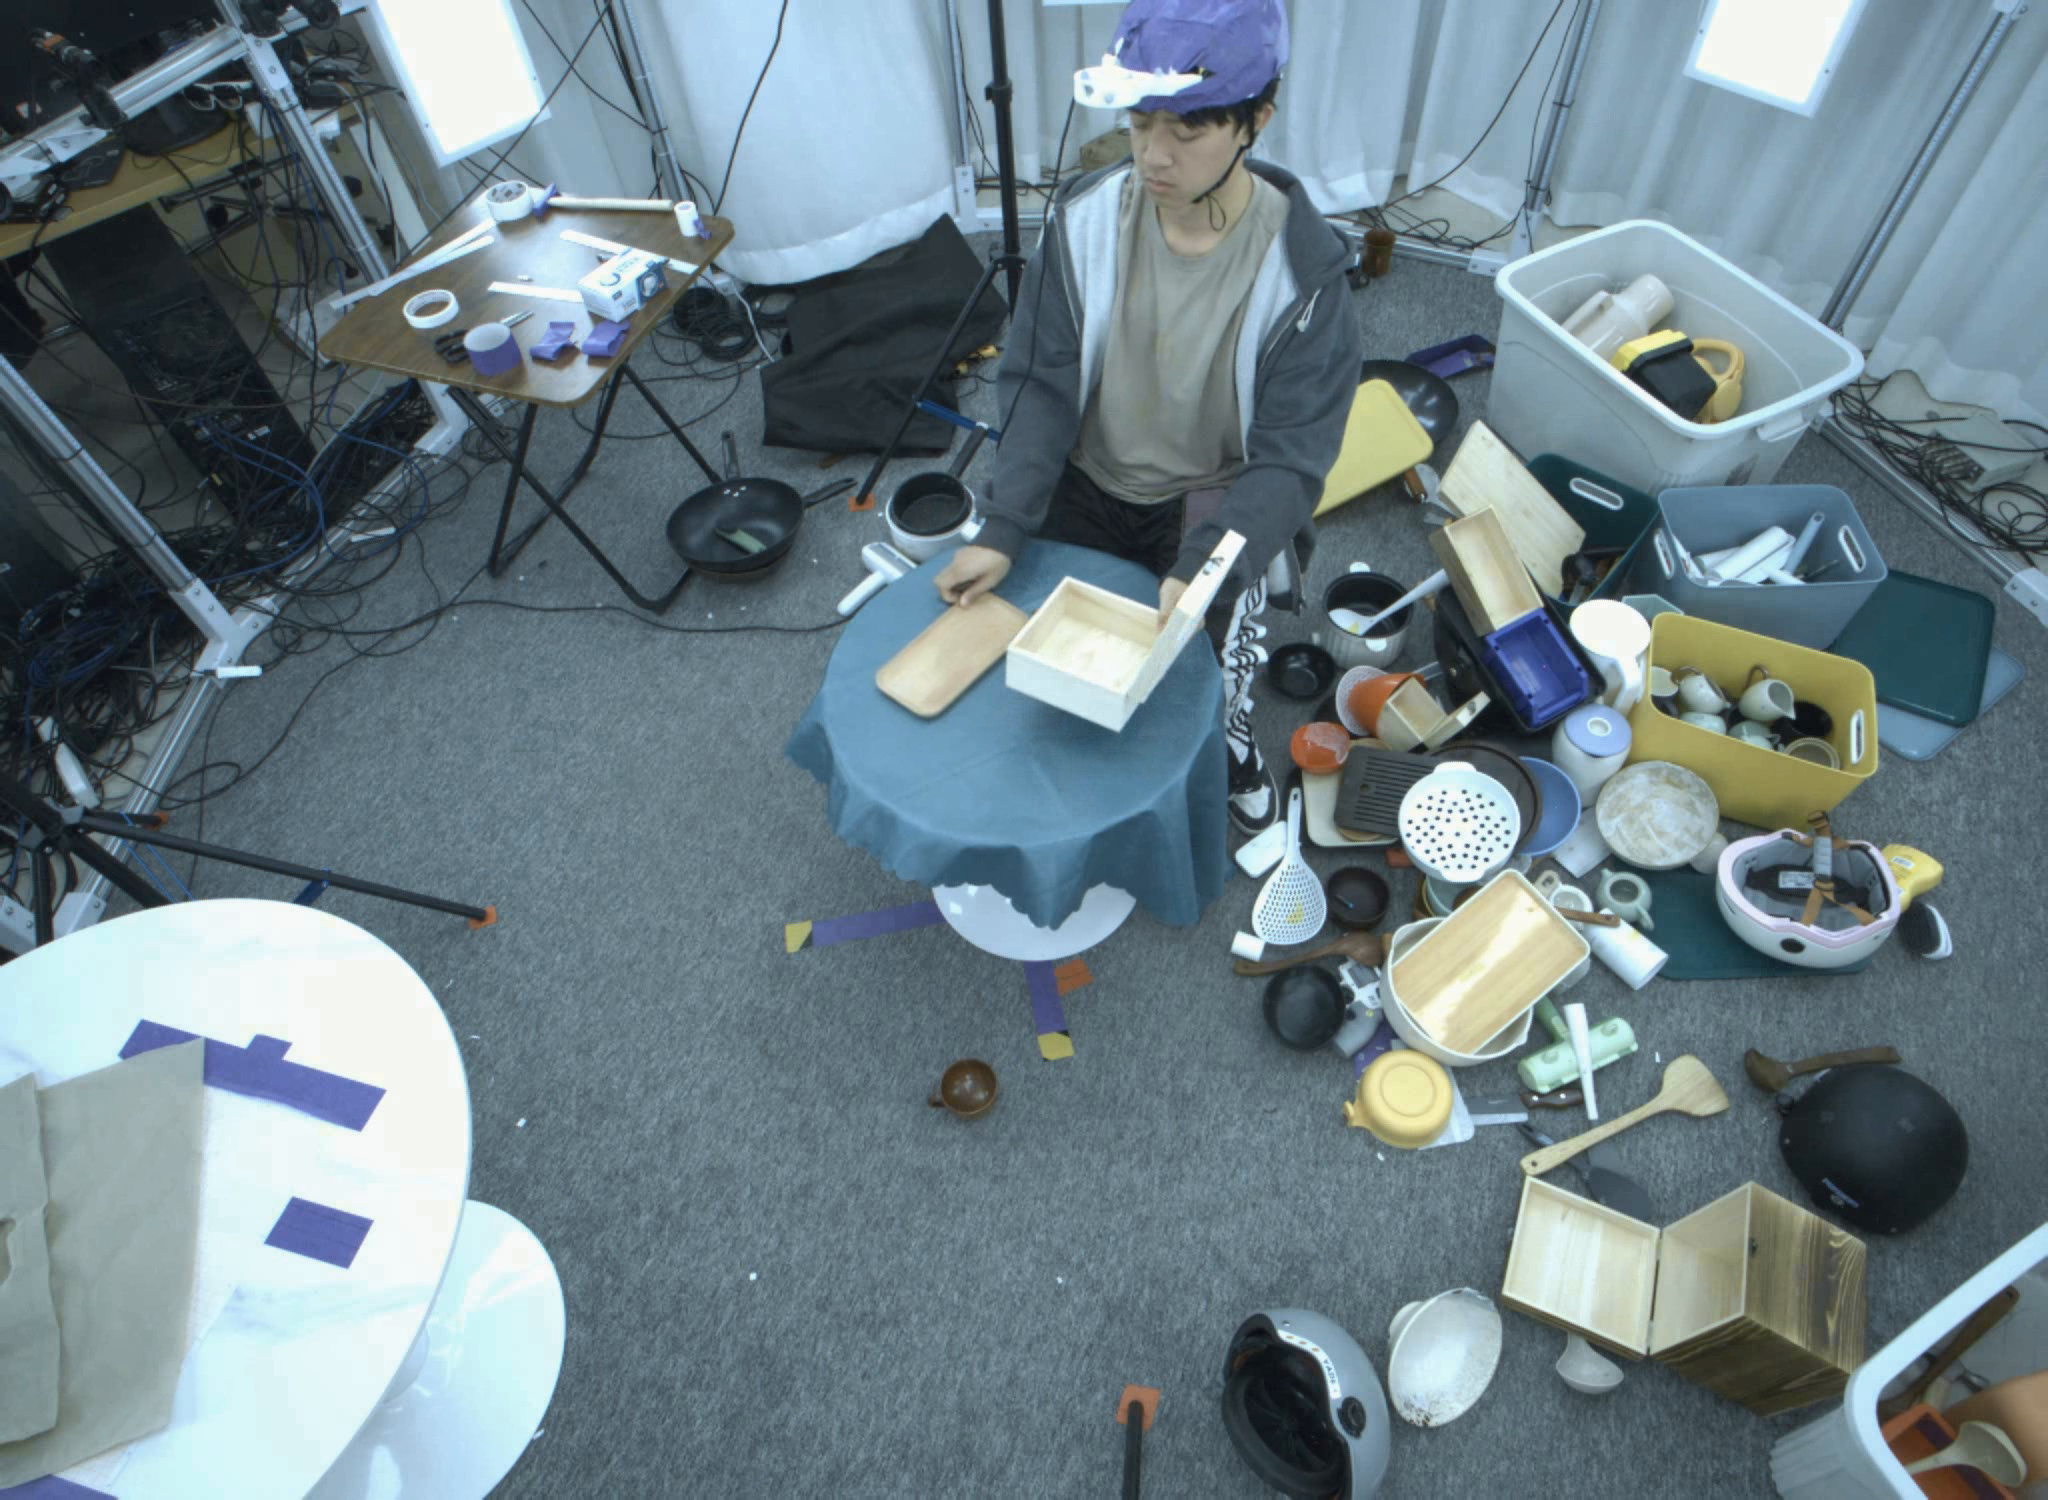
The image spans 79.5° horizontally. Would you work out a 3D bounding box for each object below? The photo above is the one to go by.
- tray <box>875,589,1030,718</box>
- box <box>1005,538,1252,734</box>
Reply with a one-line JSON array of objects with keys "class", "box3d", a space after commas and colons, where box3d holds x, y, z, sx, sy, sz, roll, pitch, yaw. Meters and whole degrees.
[{"class": "tray", "box3d": [-0.109, -0.151, 1.890, 0.128, 0.023, 0.252, 36, 63, 20]}, {"class": "box", "box3d": [0.133, -0.182, 1.680, 0.262, 0.255, 0.182, 23, 48, 14]}]
